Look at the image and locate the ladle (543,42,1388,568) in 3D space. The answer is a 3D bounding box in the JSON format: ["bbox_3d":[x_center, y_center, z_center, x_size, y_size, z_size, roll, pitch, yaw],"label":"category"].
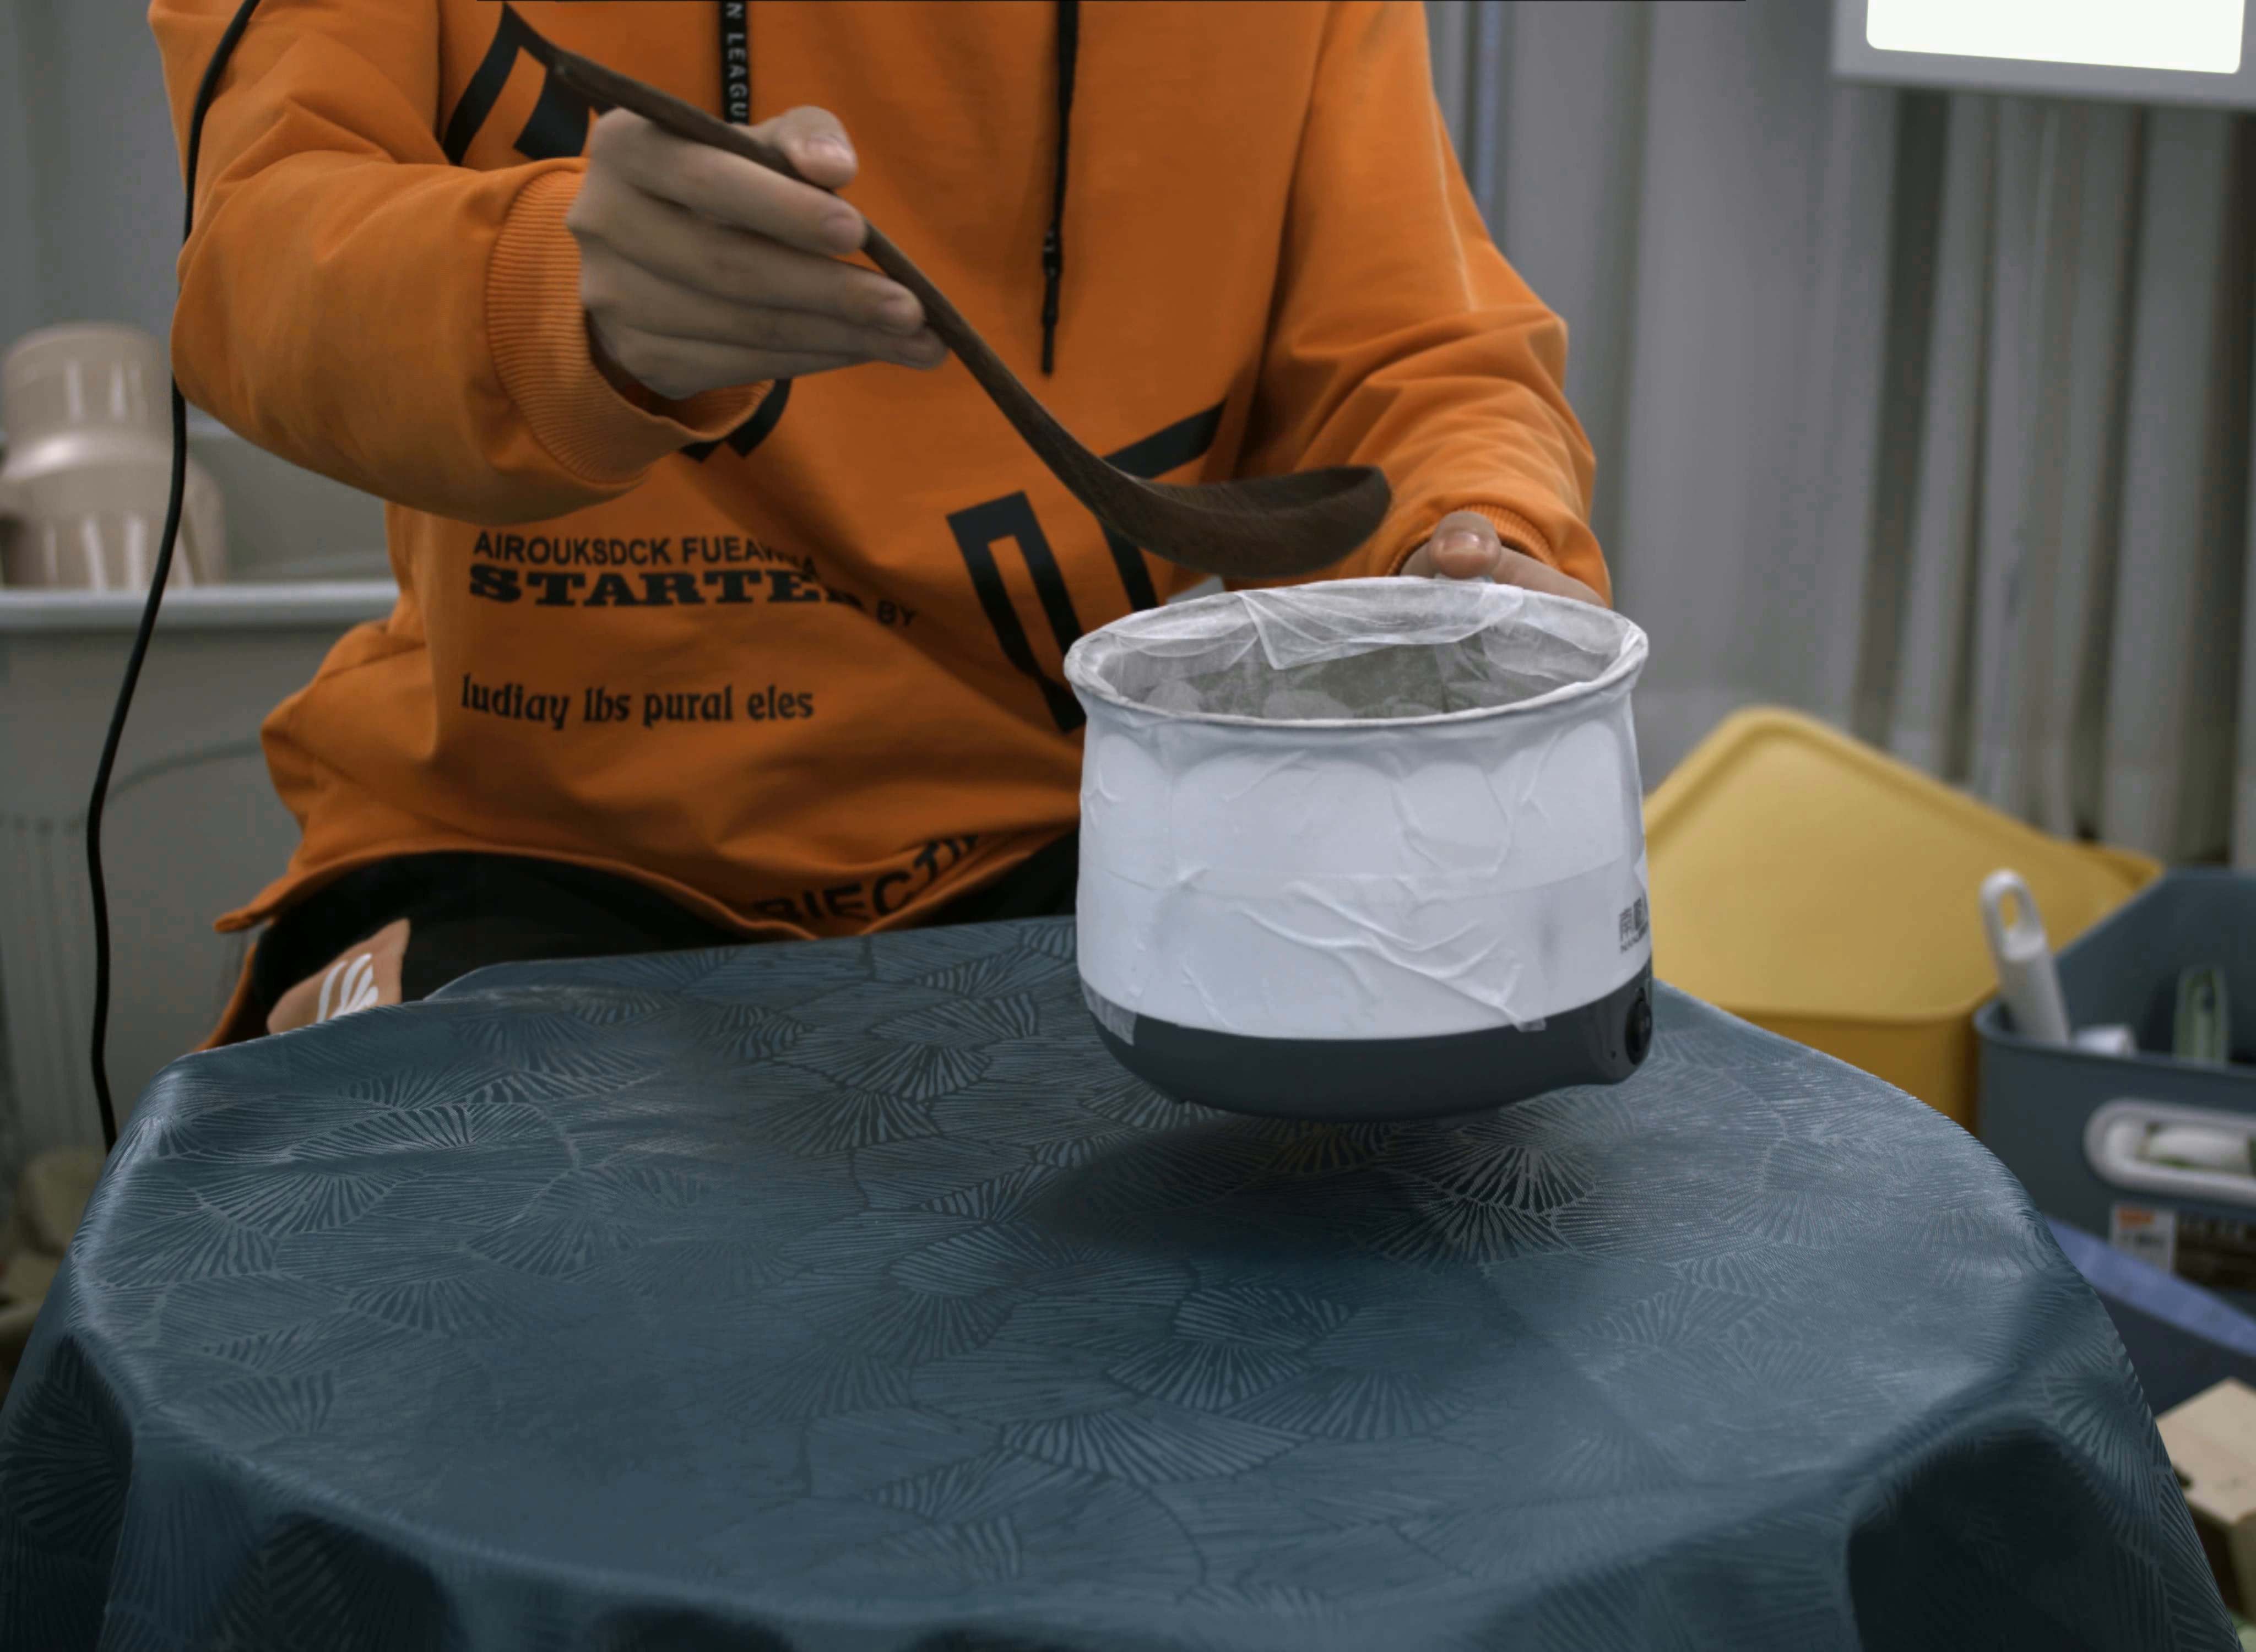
[{"bbox_3d":[-0.043,-0.164,1.535,0.276,0.071,0.075,39,-2,-15],"label":"ladle"}]

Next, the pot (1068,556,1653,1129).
[{"bbox_3d":[0.082,-0.001,1.632,0.177,0.138,0.234,4,18,20],"label":"pot"}]
